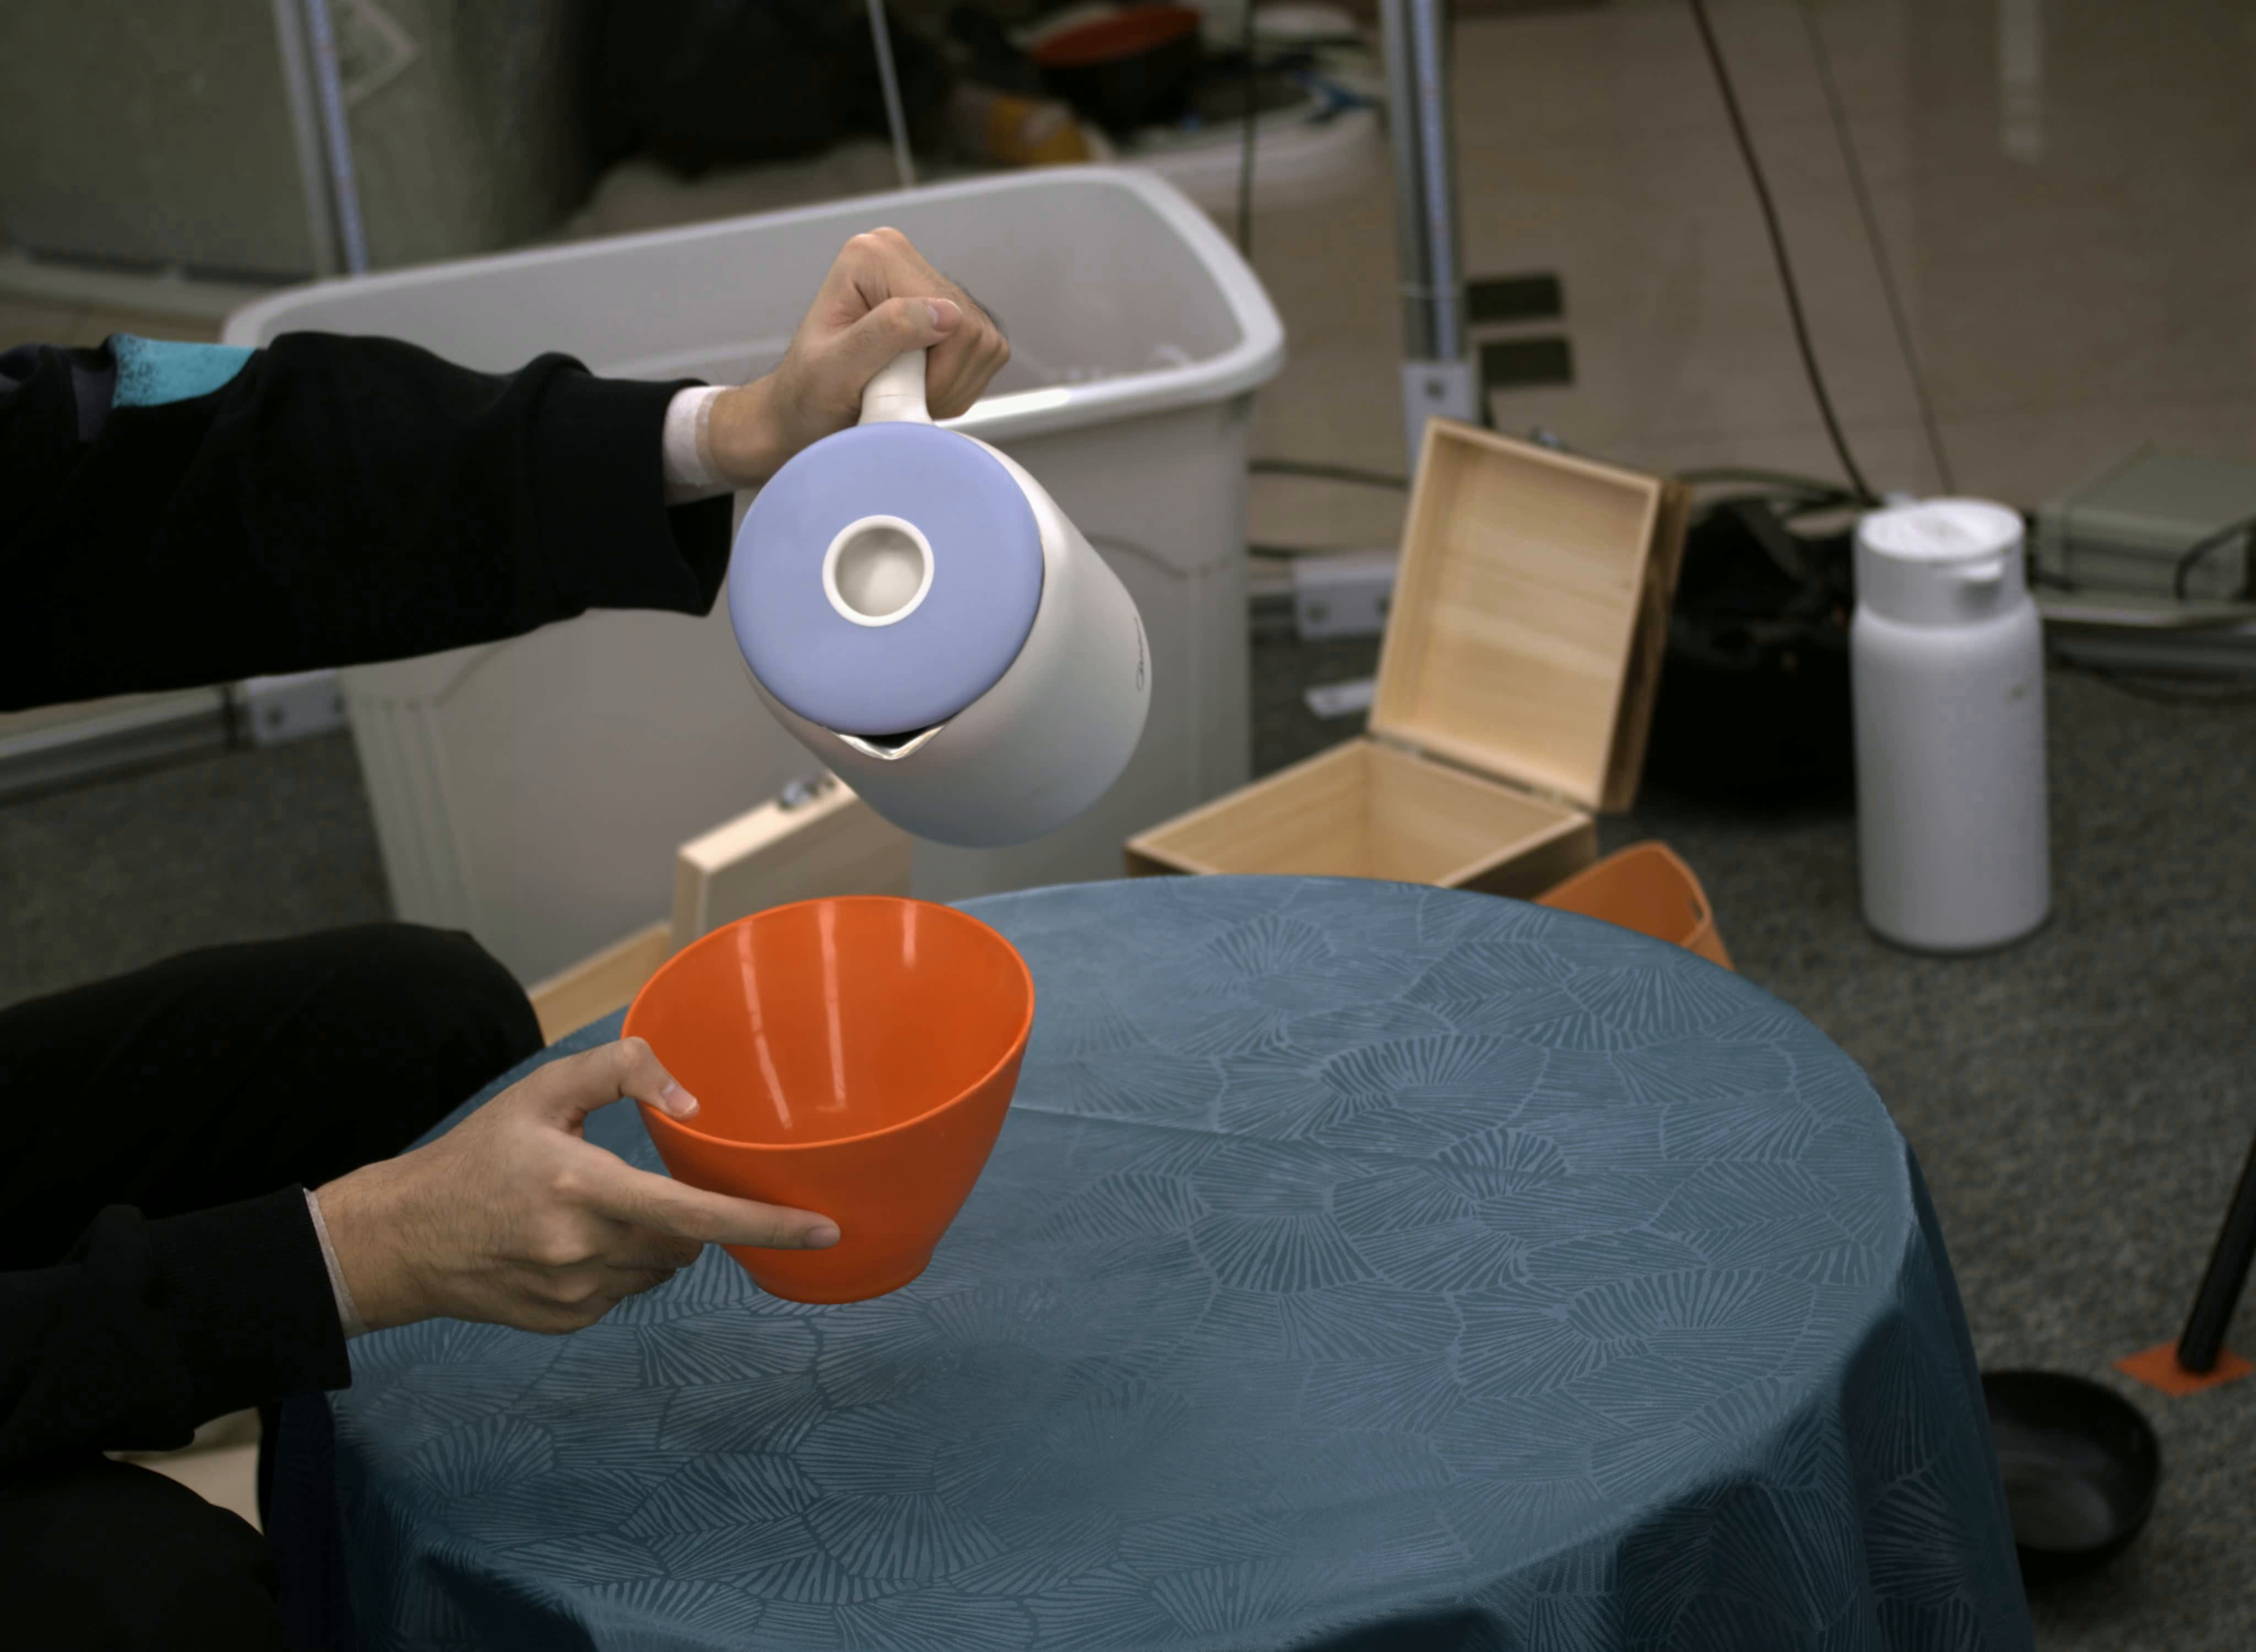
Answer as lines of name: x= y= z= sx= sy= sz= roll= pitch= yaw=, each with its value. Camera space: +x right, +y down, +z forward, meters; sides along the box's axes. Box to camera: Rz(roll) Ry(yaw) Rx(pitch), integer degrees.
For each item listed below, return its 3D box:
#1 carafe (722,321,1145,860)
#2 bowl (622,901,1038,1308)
carafe: x=-0.074 y=-0.093 z=2.127 sx=0.132 sy=0.189 sz=0.184 roll=-8 pitch=-17 yaw=10
bowl: x=-0.103 y=0.105 z=2.013 sx=0.148 sy=0.106 sz=0.146 roll=-3 pitch=25 yaw=1
